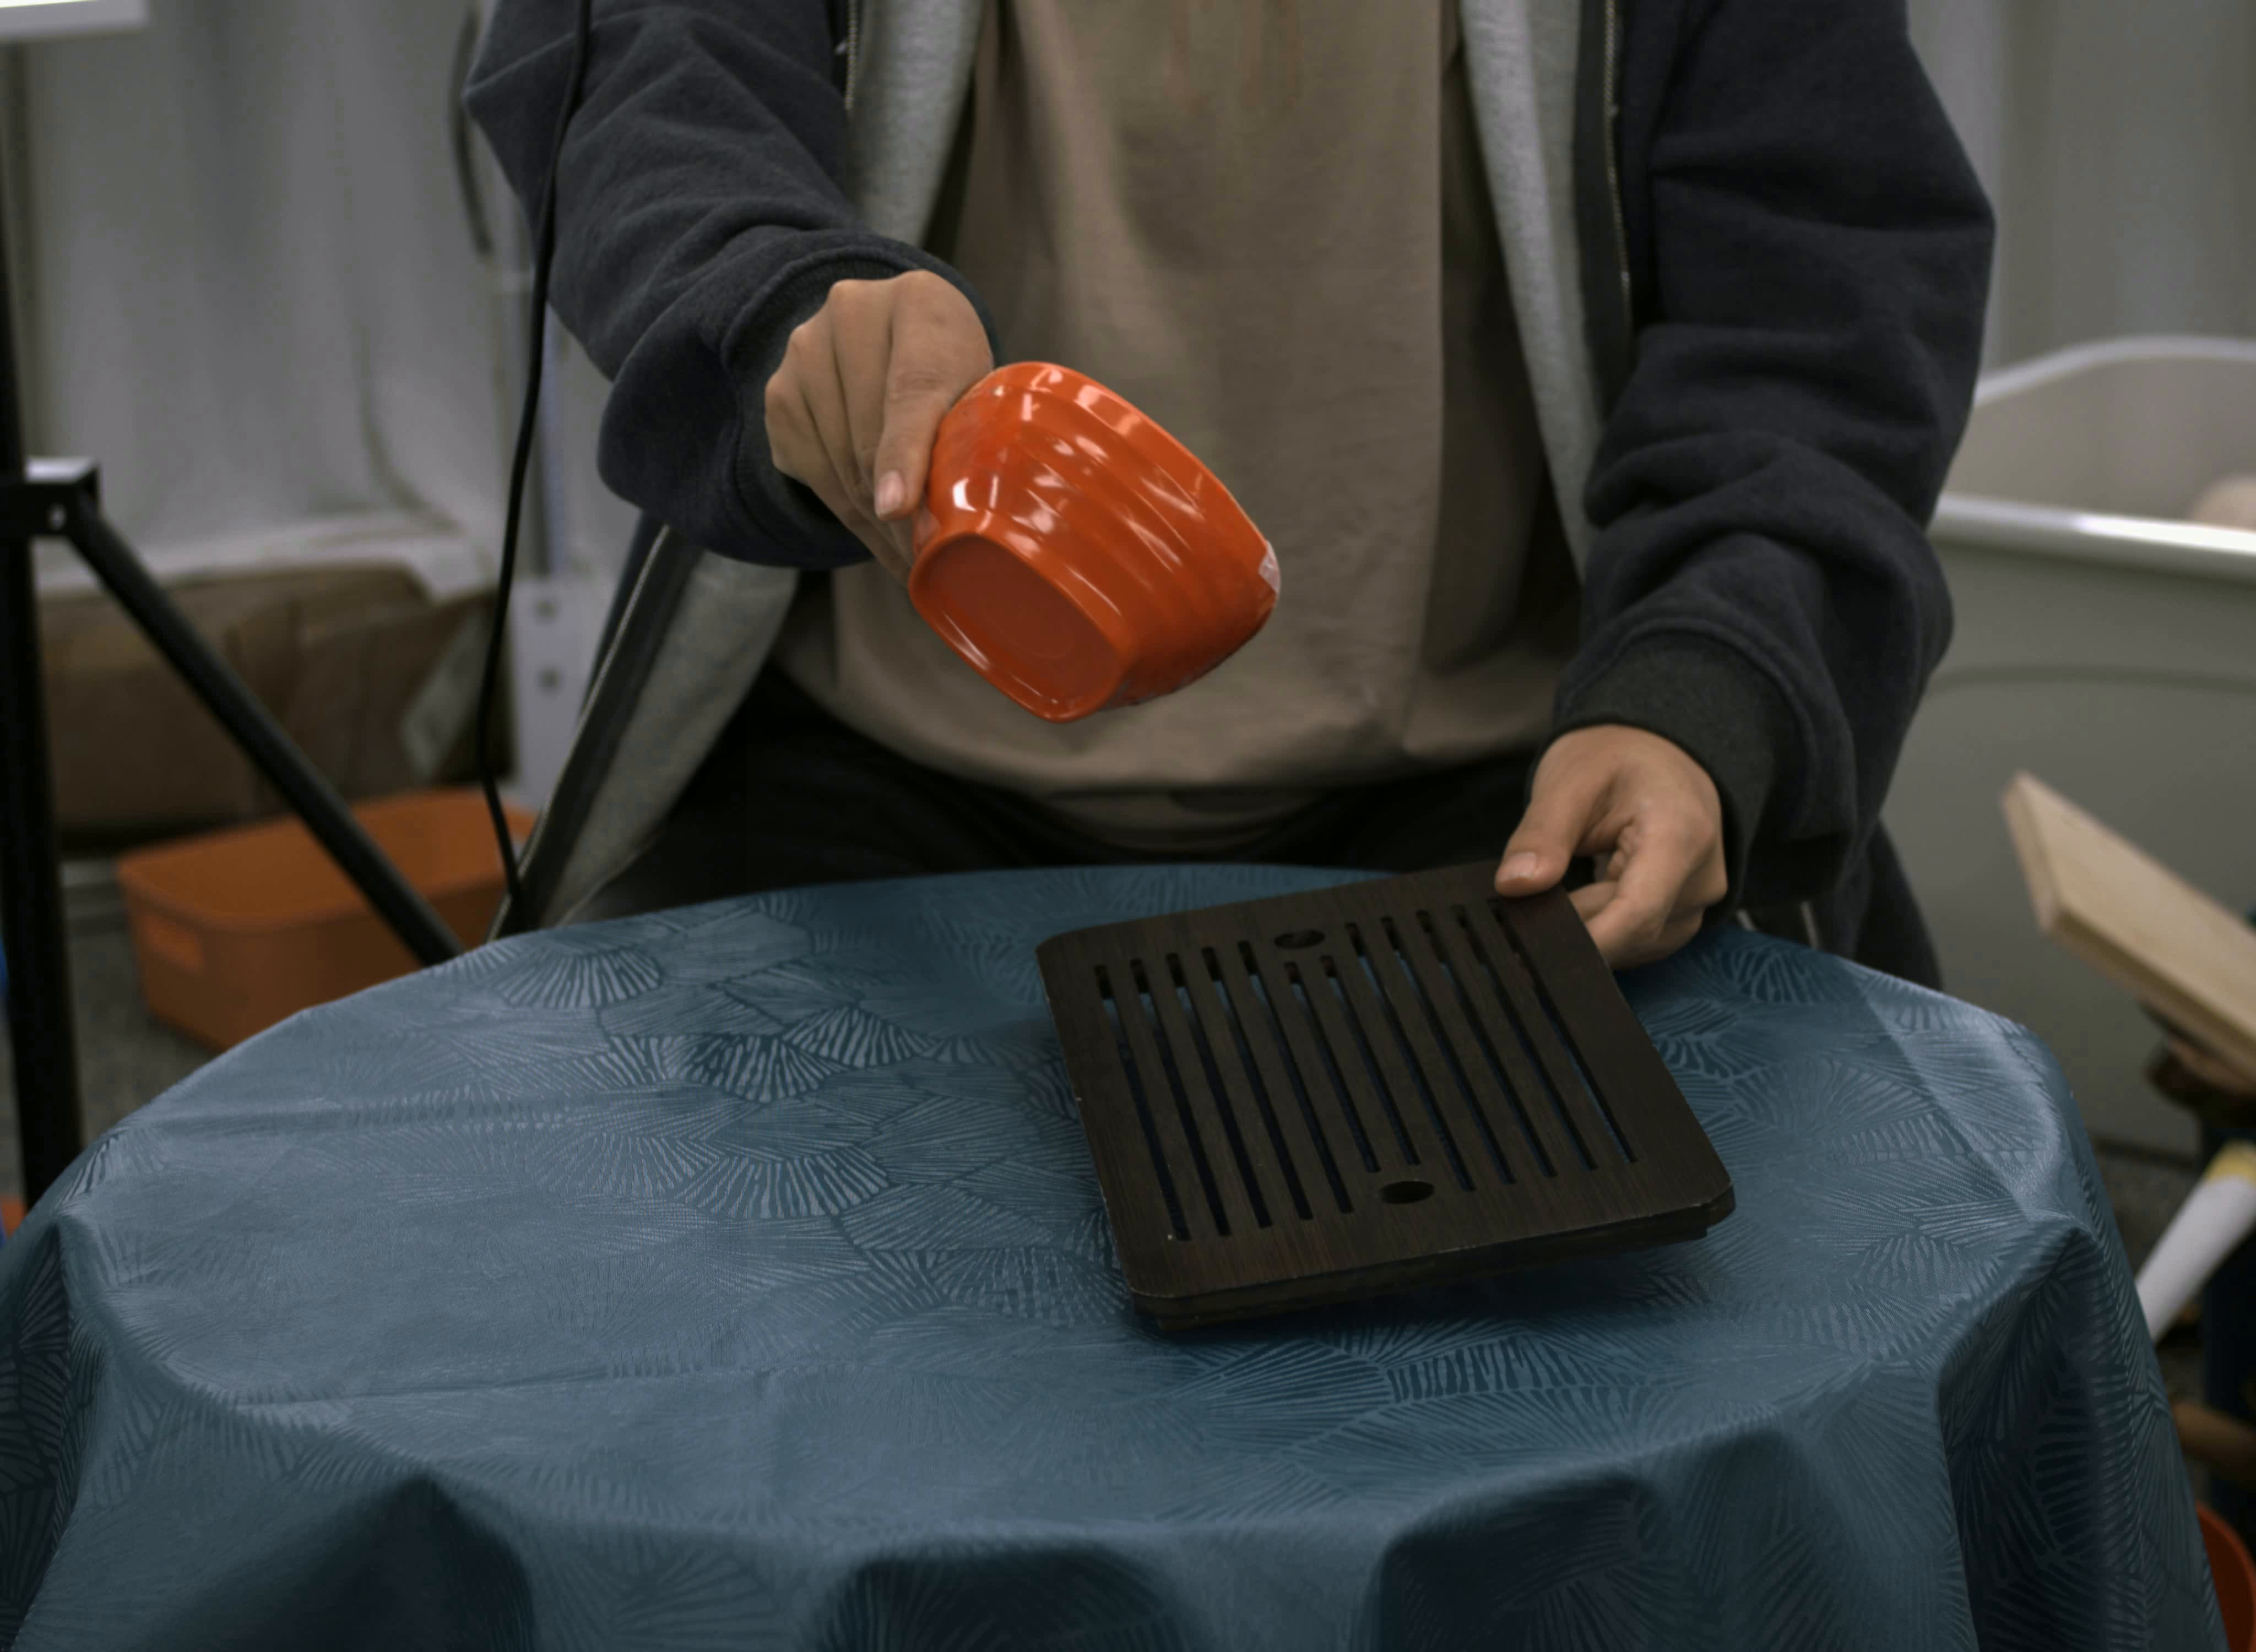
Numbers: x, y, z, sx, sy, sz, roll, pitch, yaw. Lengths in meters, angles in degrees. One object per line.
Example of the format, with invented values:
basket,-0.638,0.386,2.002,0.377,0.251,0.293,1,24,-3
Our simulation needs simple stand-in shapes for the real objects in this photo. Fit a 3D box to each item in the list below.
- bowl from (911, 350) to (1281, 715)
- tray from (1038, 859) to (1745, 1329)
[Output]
bowl,-0.018,-0.075,1.523,0.121,0.117,0.051,12,52,40
tray,0.071,0.076,1.580,0.169,0.018,0.308,-10,18,-3
